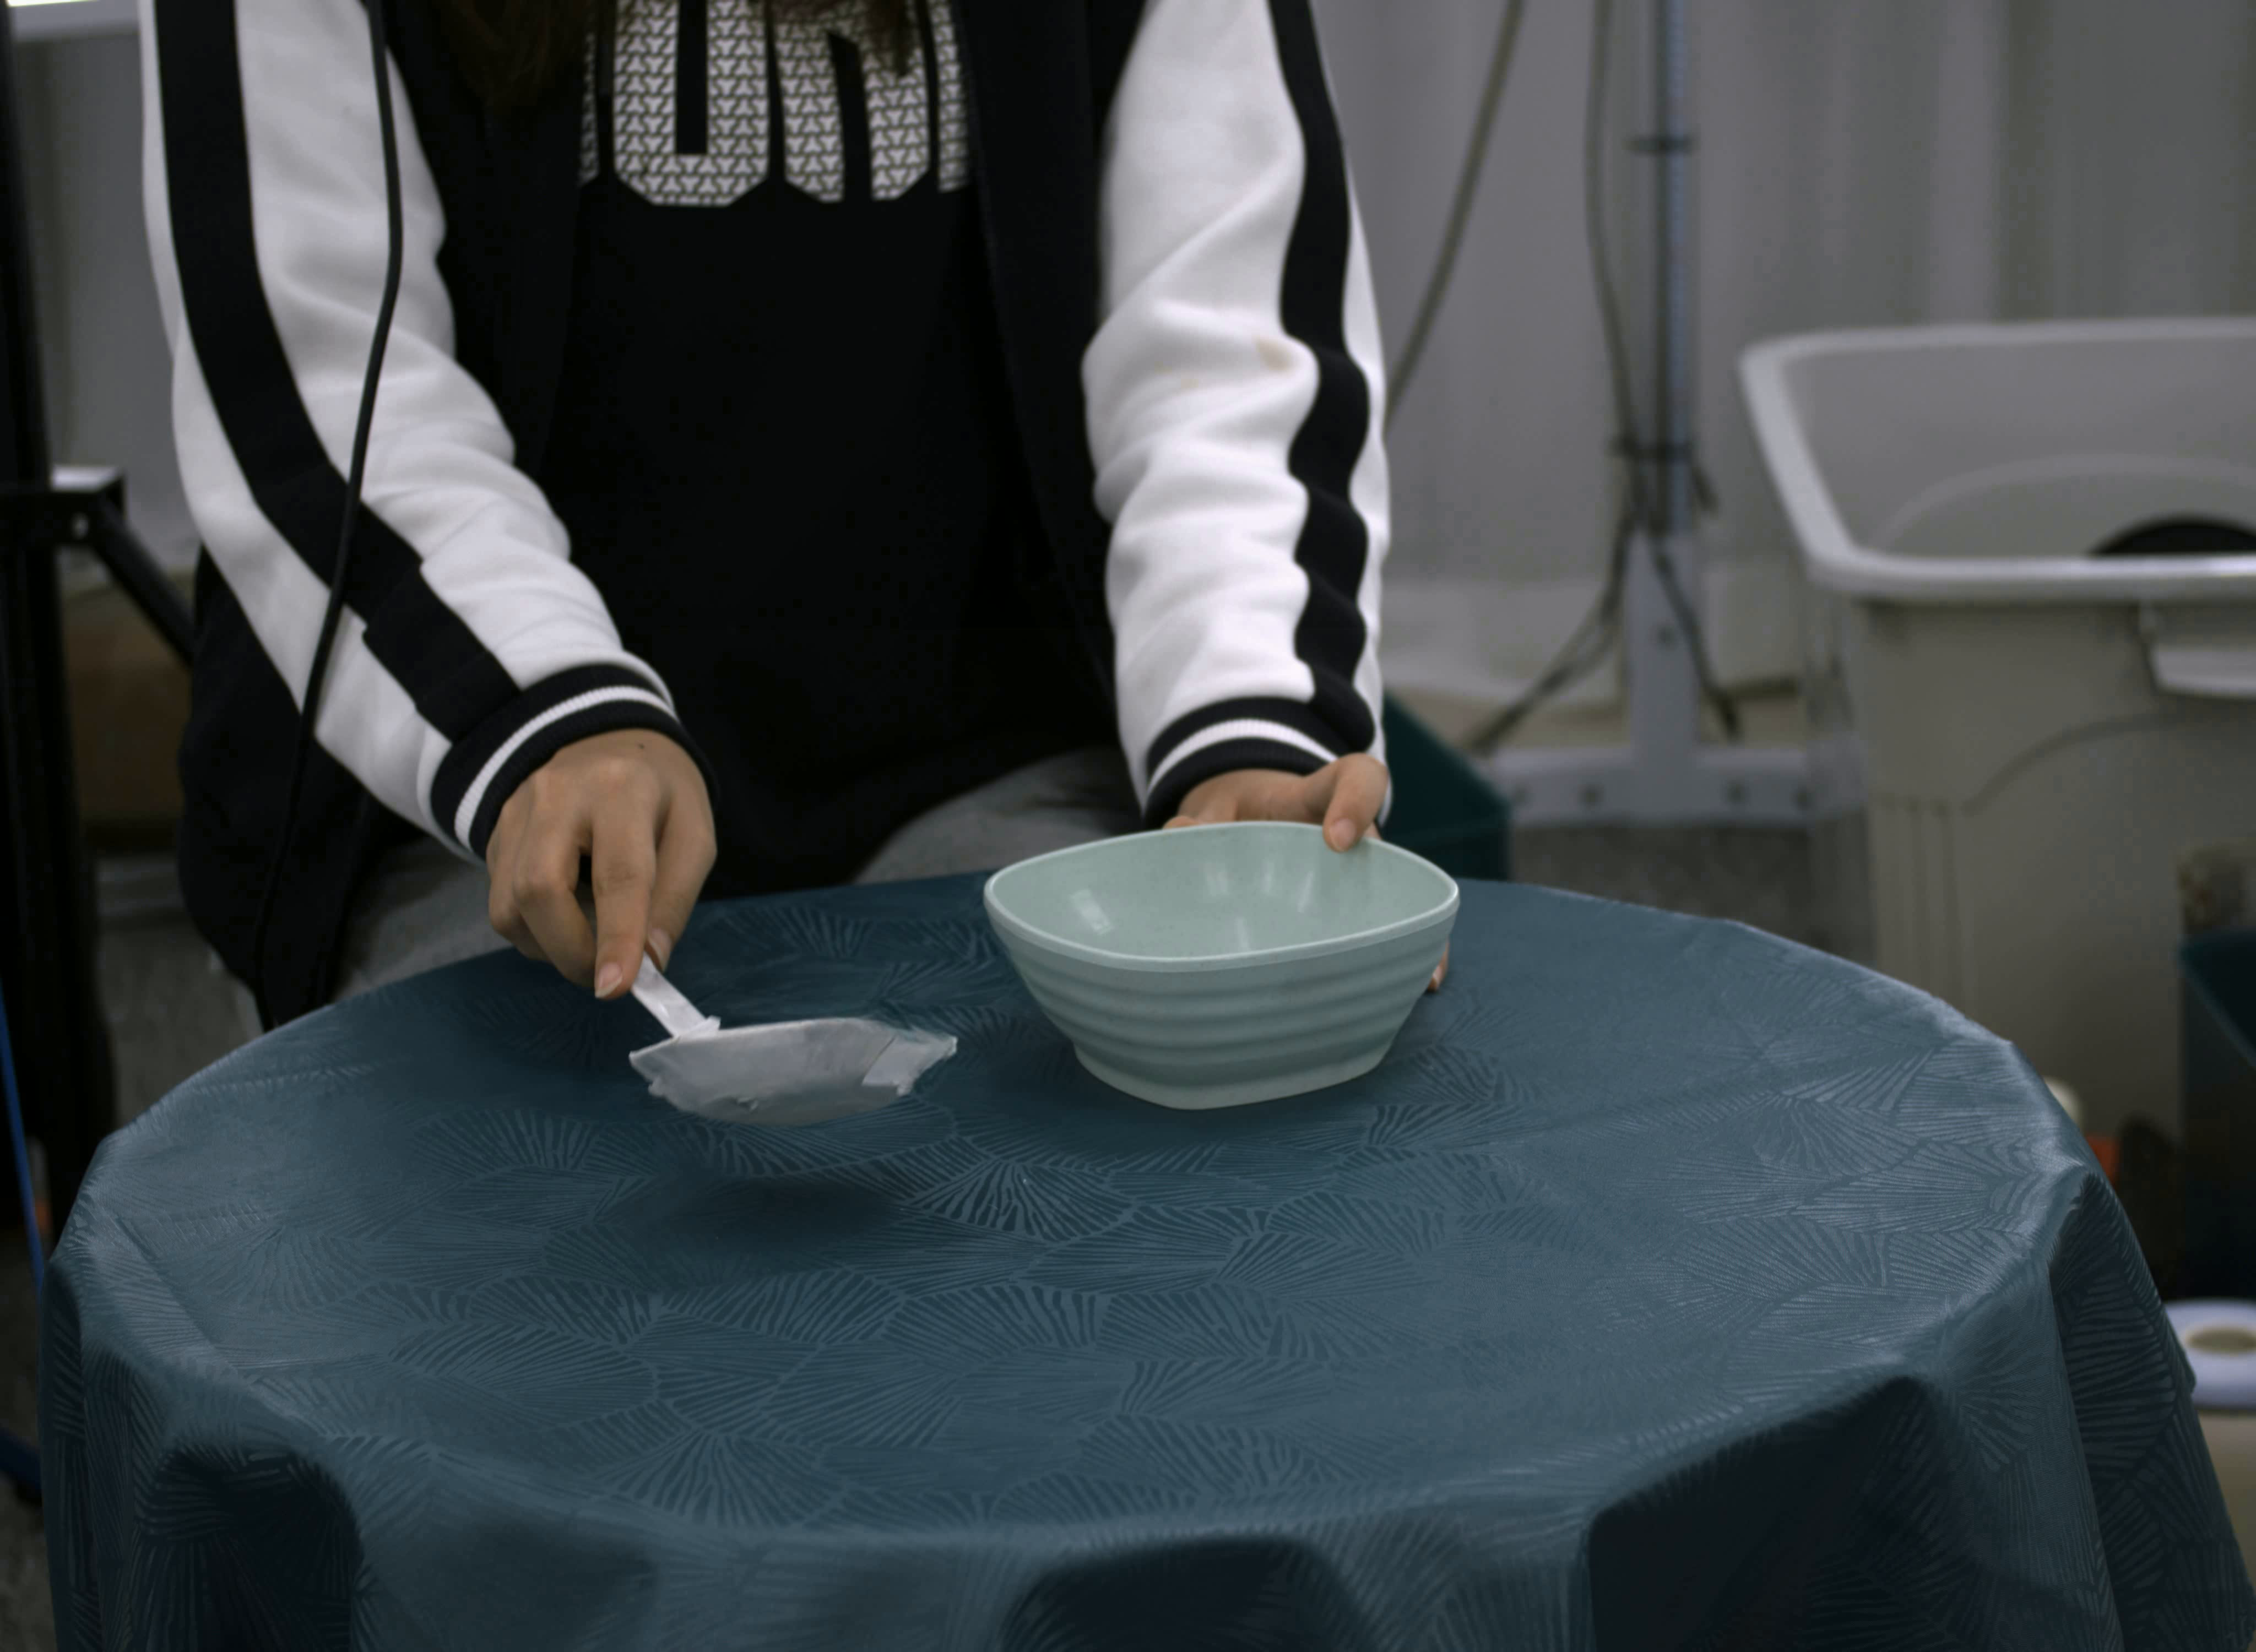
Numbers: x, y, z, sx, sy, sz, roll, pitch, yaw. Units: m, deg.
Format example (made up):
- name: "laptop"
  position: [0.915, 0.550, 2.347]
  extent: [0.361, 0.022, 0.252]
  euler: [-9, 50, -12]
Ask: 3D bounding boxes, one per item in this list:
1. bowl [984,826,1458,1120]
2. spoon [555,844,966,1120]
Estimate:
- name: "bowl"
  position: [0.030, 0.049, 1.665]
  extent: [0.151, 0.058, 0.152]
  euler: [-3, 16, -1]
- name: "spoon"
  position: [-0.126, 0.031, 1.631]
  extent: [0.098, 0.059, 0.282]
  euler: [8, 16, -23]
